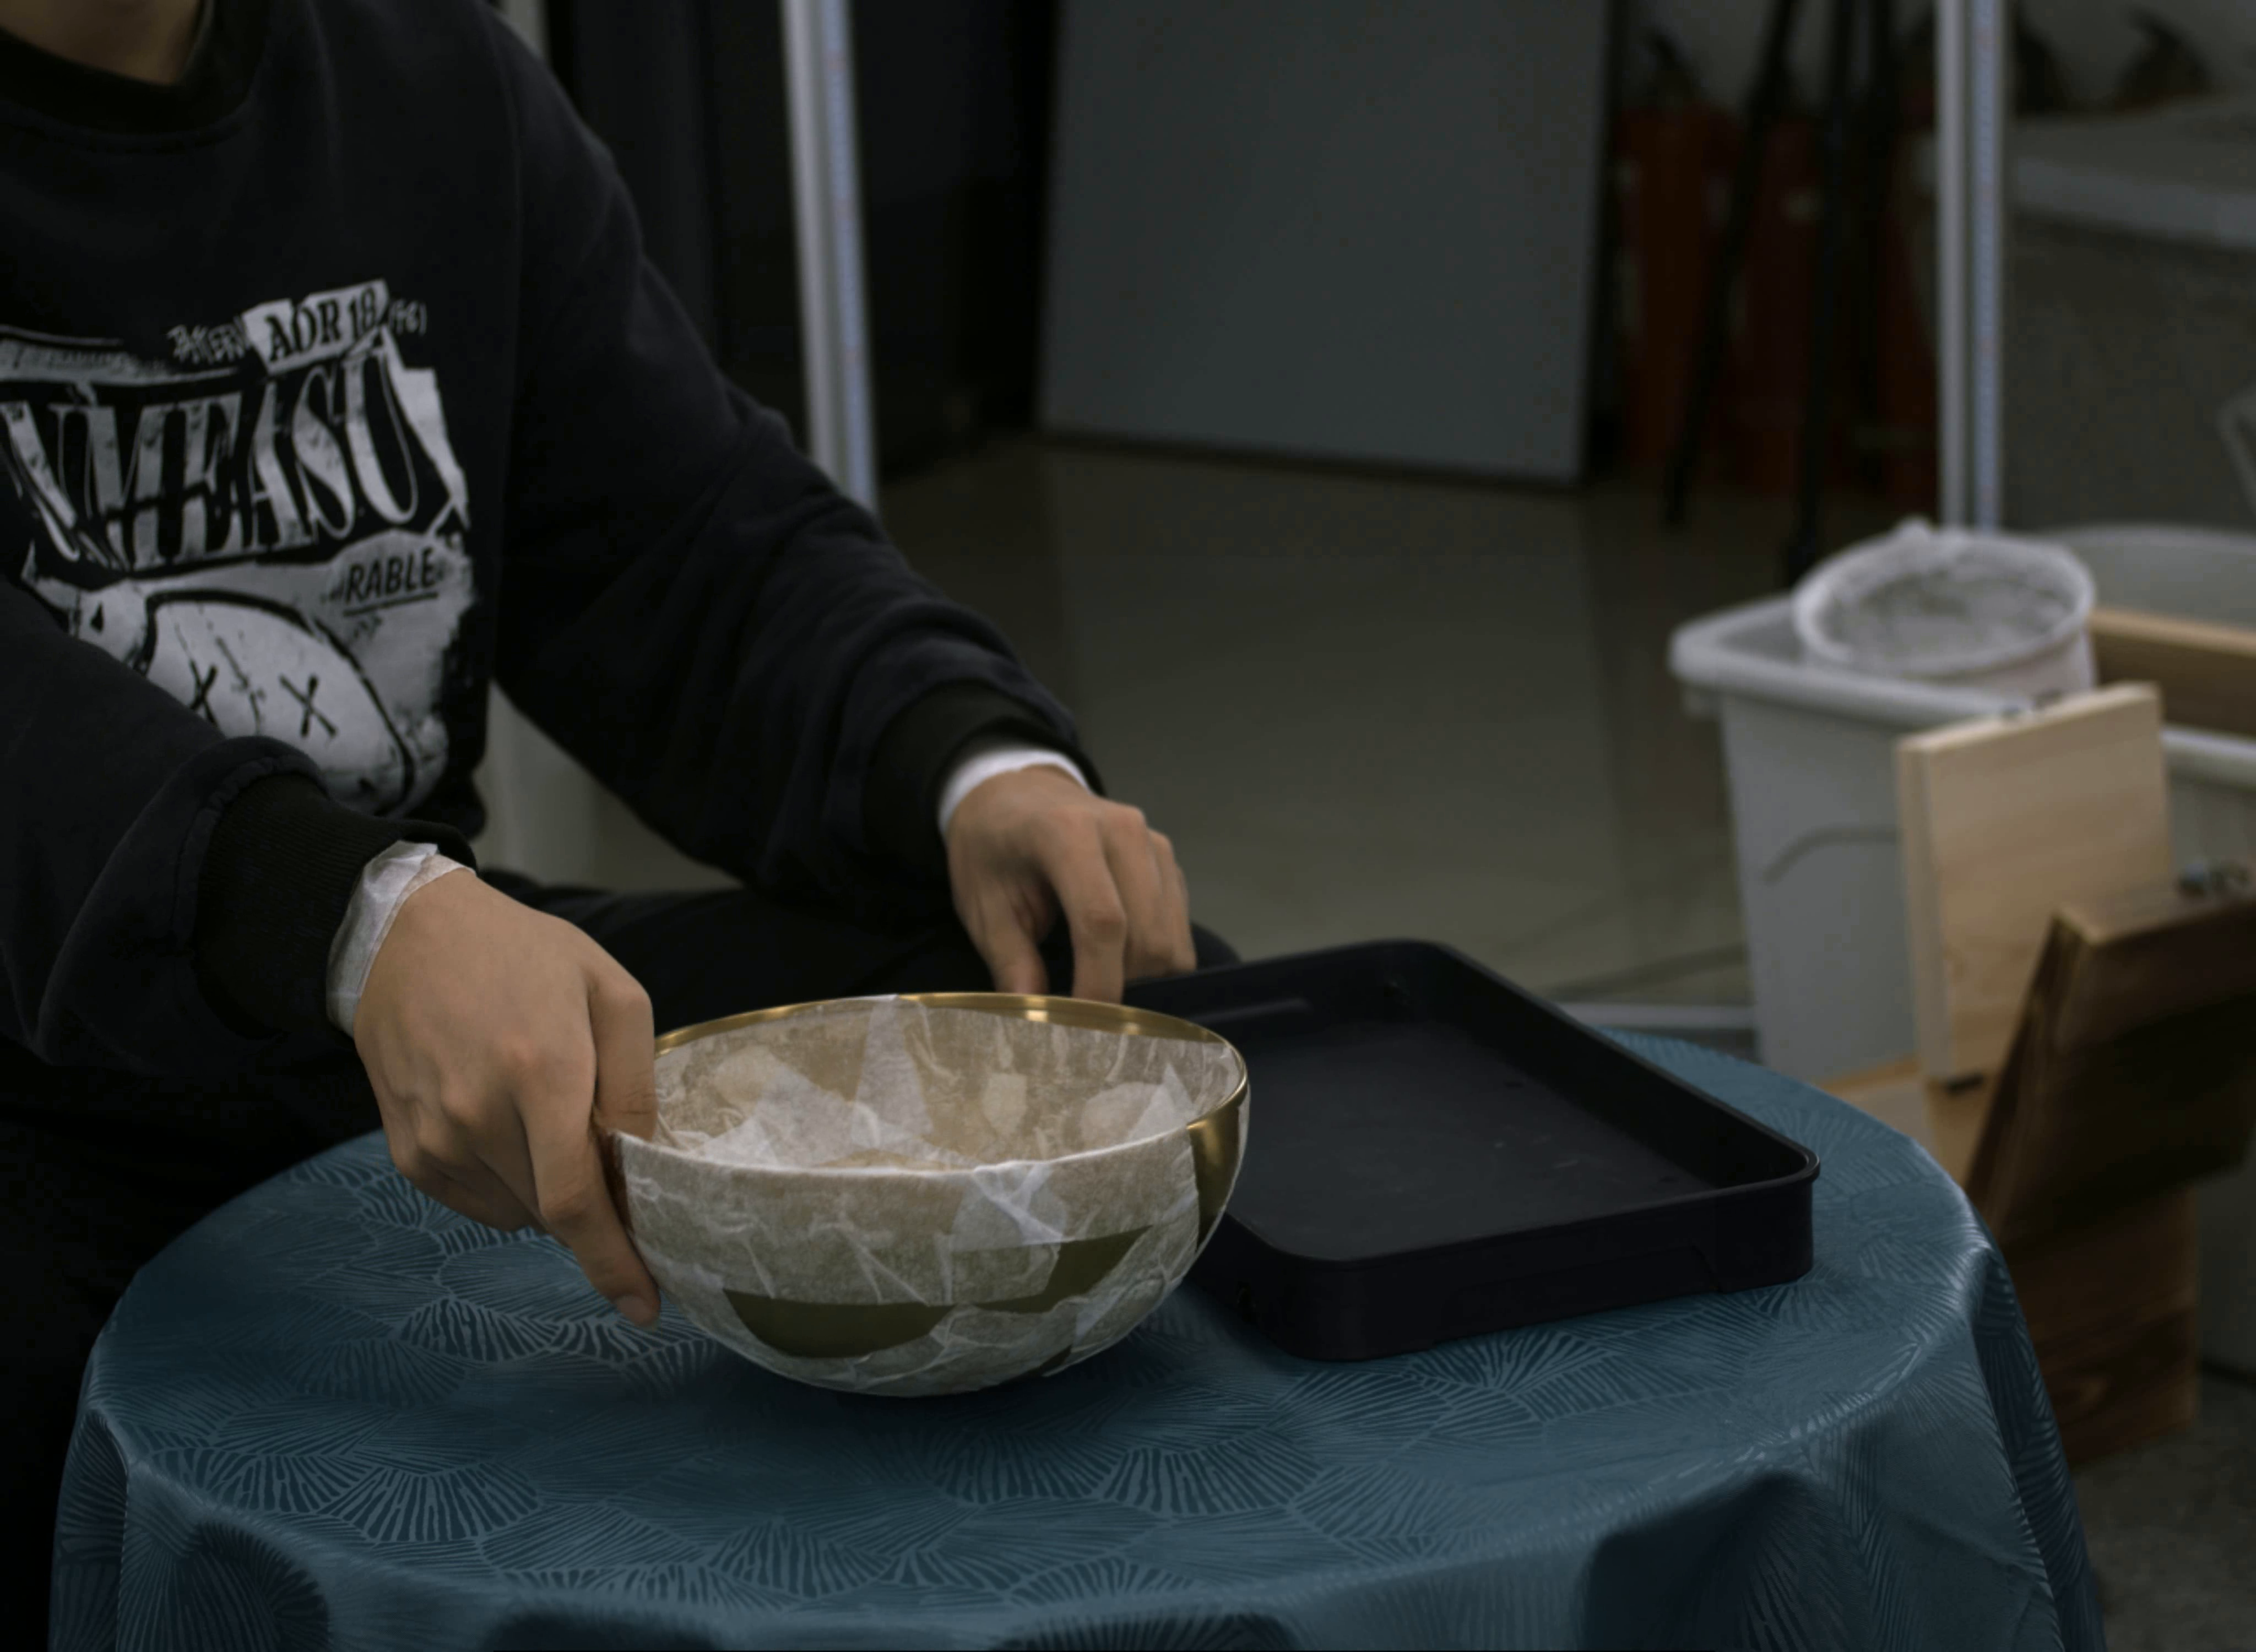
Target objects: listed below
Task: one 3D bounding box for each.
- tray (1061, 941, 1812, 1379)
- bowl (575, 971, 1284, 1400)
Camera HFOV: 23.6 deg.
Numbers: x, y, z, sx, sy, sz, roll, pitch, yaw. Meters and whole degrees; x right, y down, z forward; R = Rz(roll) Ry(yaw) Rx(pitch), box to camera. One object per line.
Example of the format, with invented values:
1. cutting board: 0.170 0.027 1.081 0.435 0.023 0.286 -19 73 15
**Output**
1. tray: 0.079 0.103 1.757 0.180 0.037 0.321 -7 16 -18
2. bowl: -0.058 0.116 1.613 0.212 0.095 0.215 -4 13 0
